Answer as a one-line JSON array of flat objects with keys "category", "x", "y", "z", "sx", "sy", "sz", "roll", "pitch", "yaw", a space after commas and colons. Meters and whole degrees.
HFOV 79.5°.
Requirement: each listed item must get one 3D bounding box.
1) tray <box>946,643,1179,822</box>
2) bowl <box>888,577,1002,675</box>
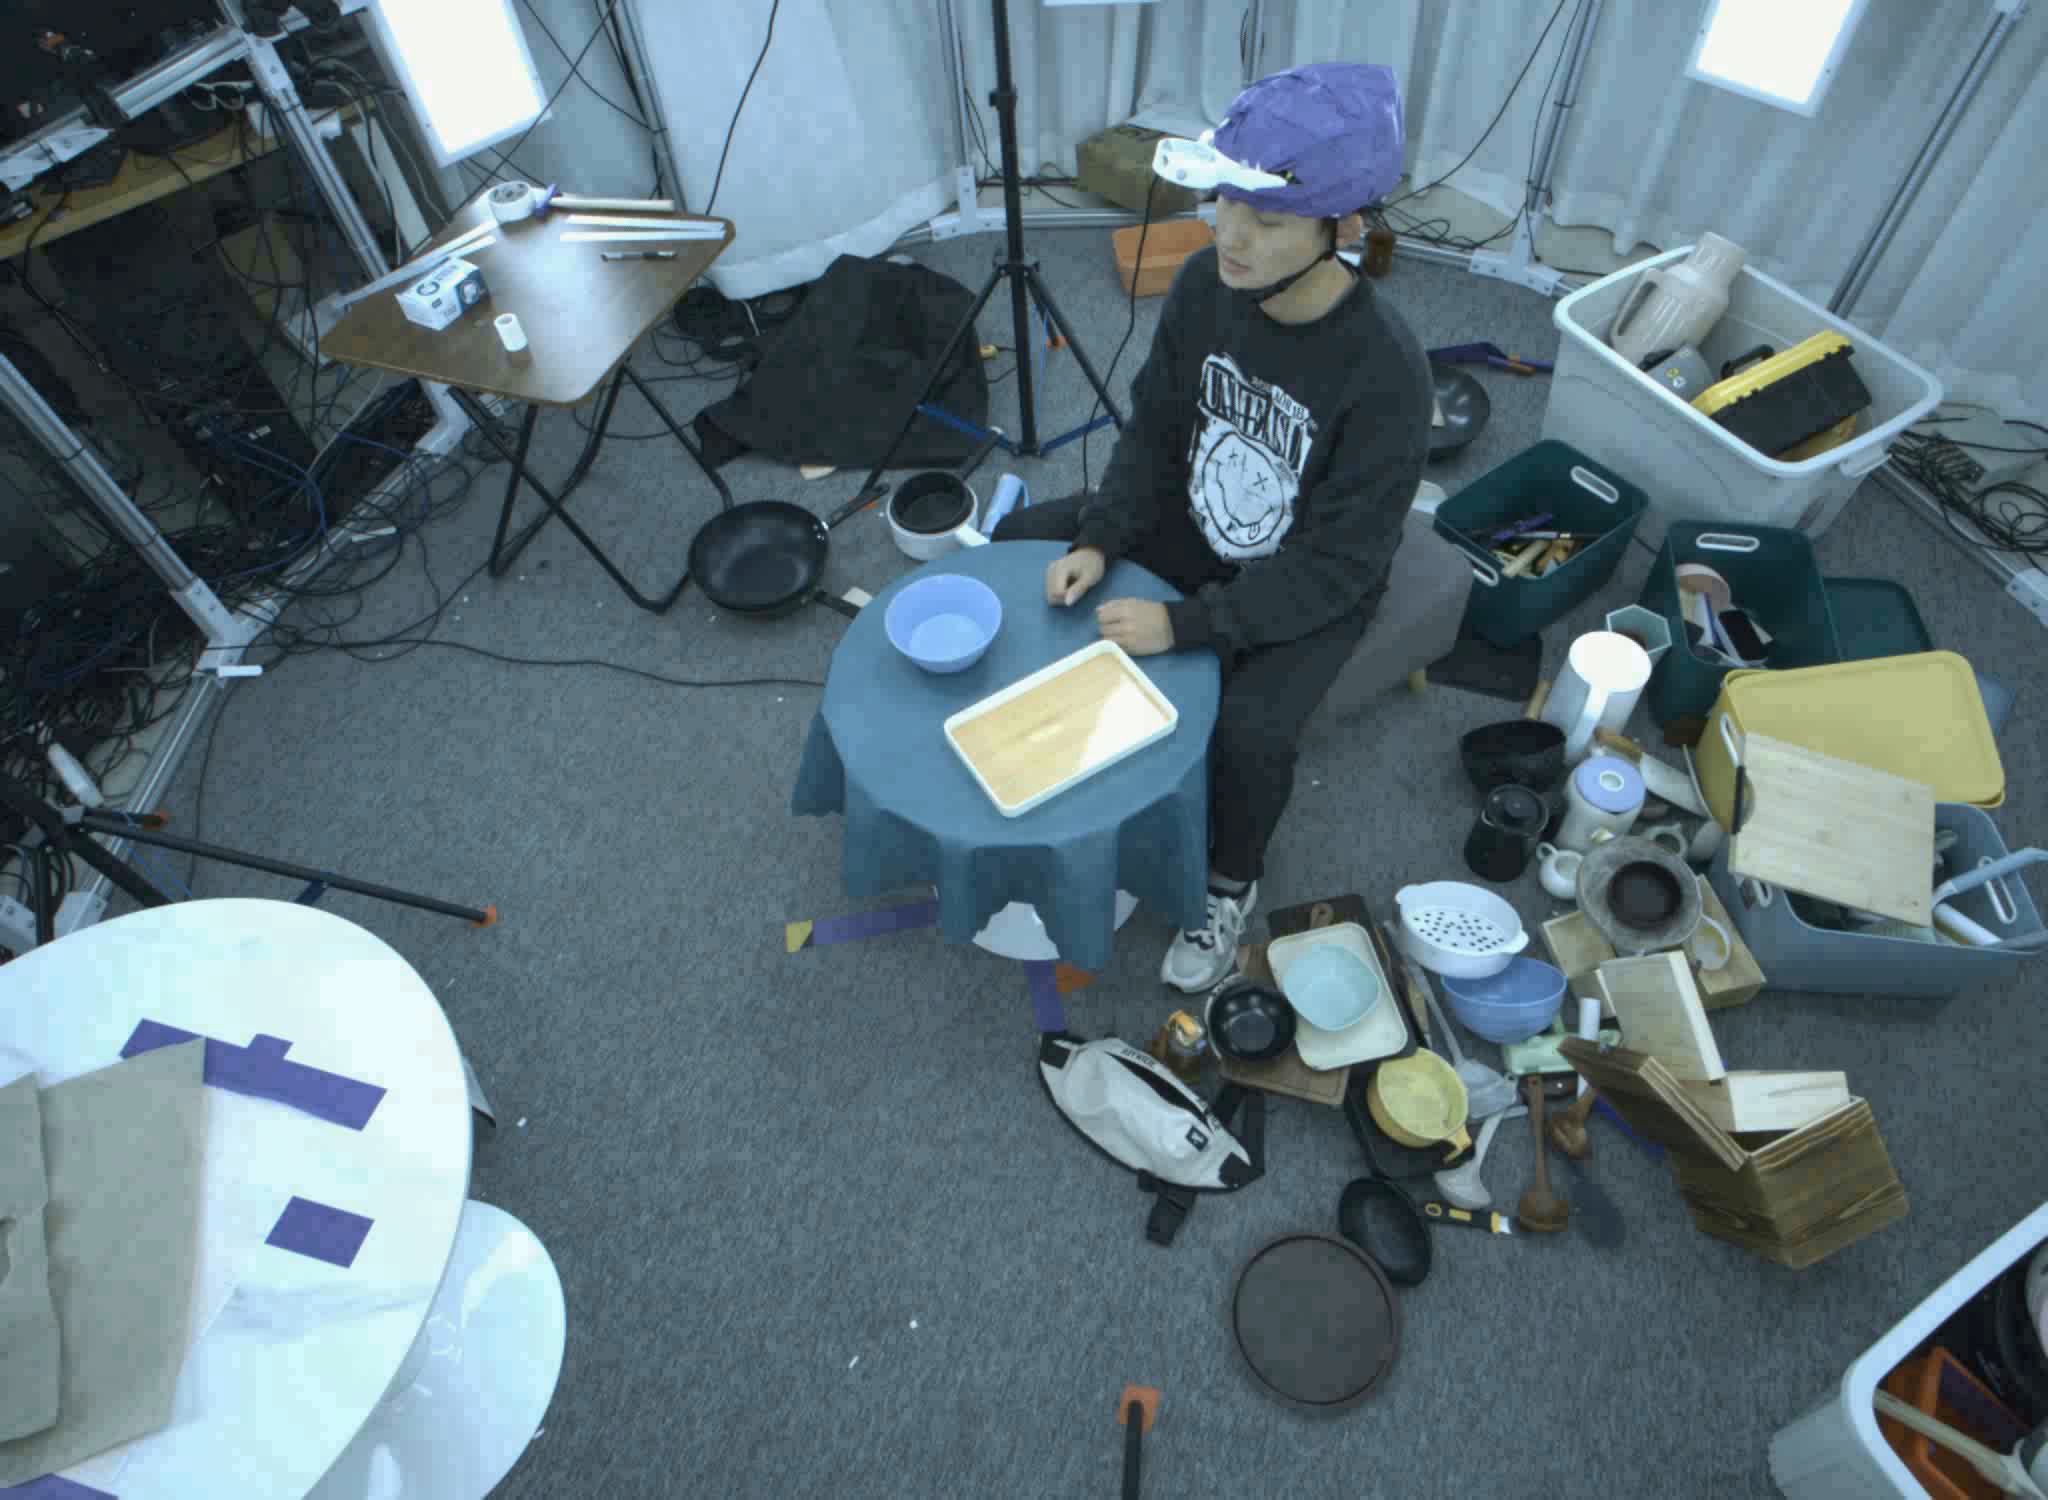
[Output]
[{"category": "tray", "x": 0.057, "y": -0.031, "z": 1.802, "sx": 0.302, "sy": 0.028, "sz": 0.188, "roll": -28, "pitch": 59, "yaw": -17}, {"category": "bowl", "x": -0.119, "y": -0.181, "z": 1.884, "sx": 0.176, "sy": 0.071, "sz": 0.174, "roll": 0, "pitch": 56, "yaw": 2}]
